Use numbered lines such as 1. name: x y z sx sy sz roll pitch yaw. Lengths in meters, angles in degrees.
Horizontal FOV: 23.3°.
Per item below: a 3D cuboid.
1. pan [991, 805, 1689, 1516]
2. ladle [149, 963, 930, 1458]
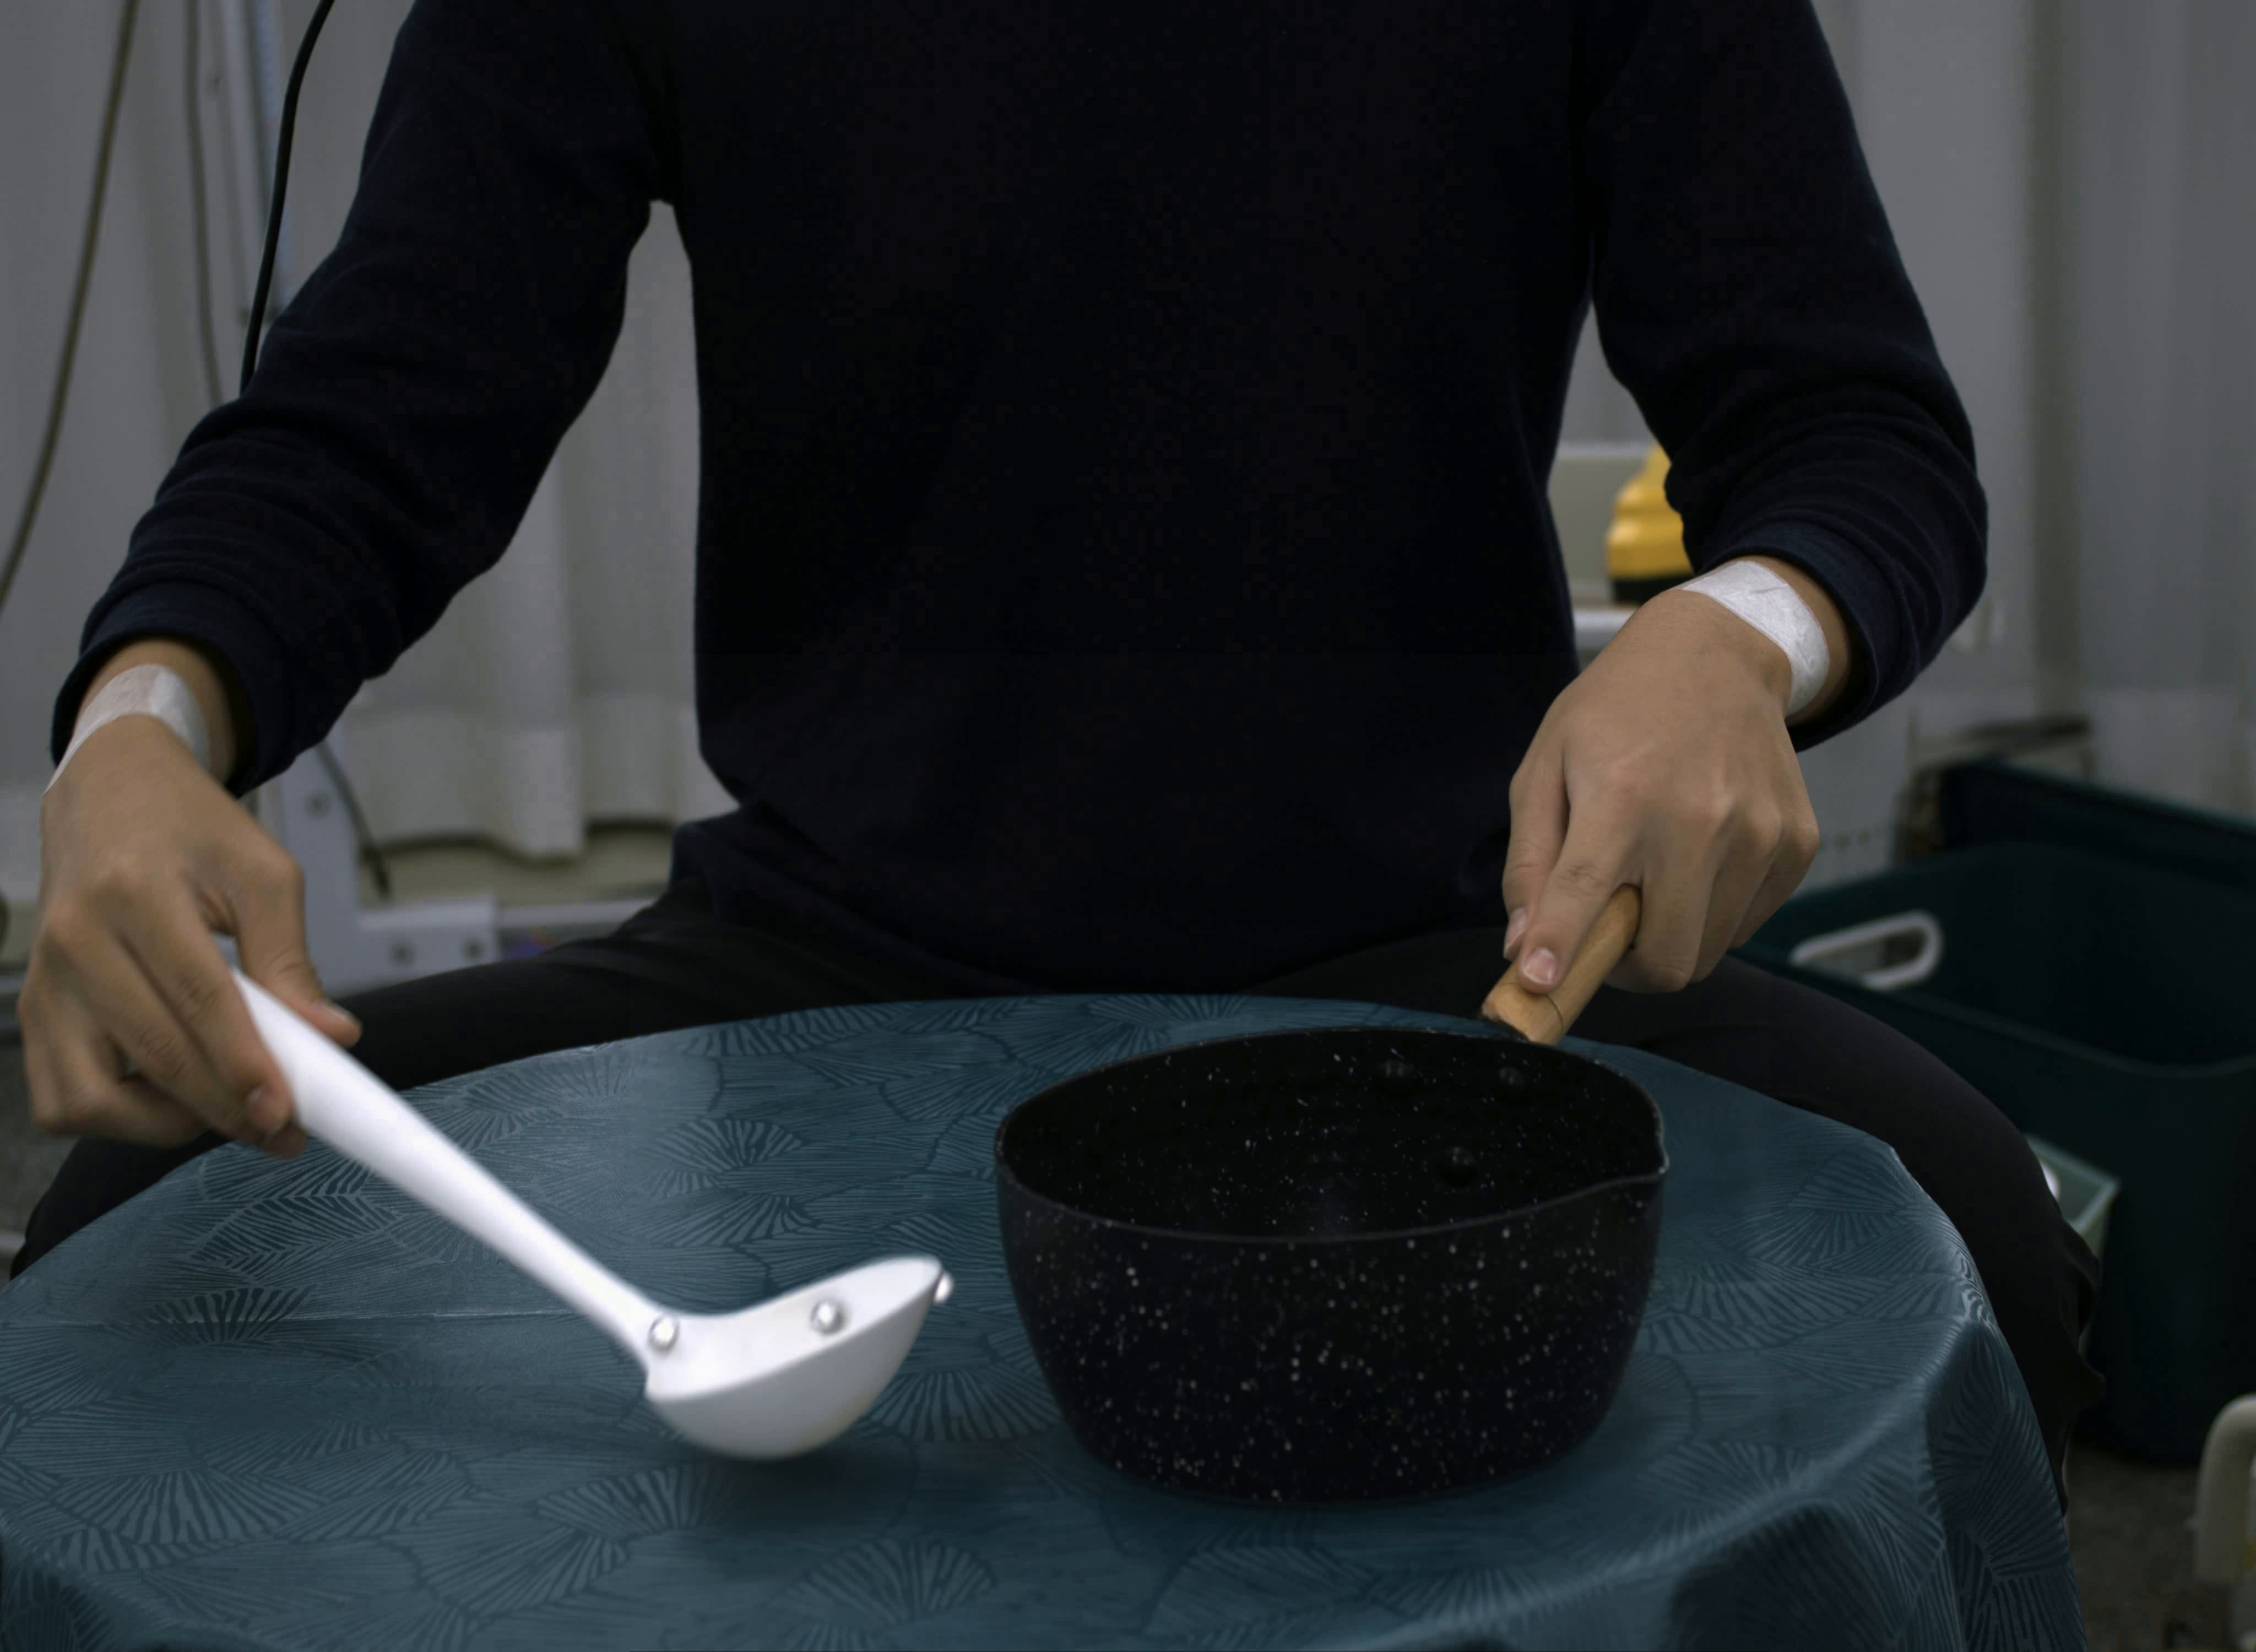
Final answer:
1. pan: 0.090 0.091 1.578 0.208 0.108 0.344 3 18 26
2. ladle: -0.176 0.097 1.547 0.295 0.069 0.090 29 42 35
